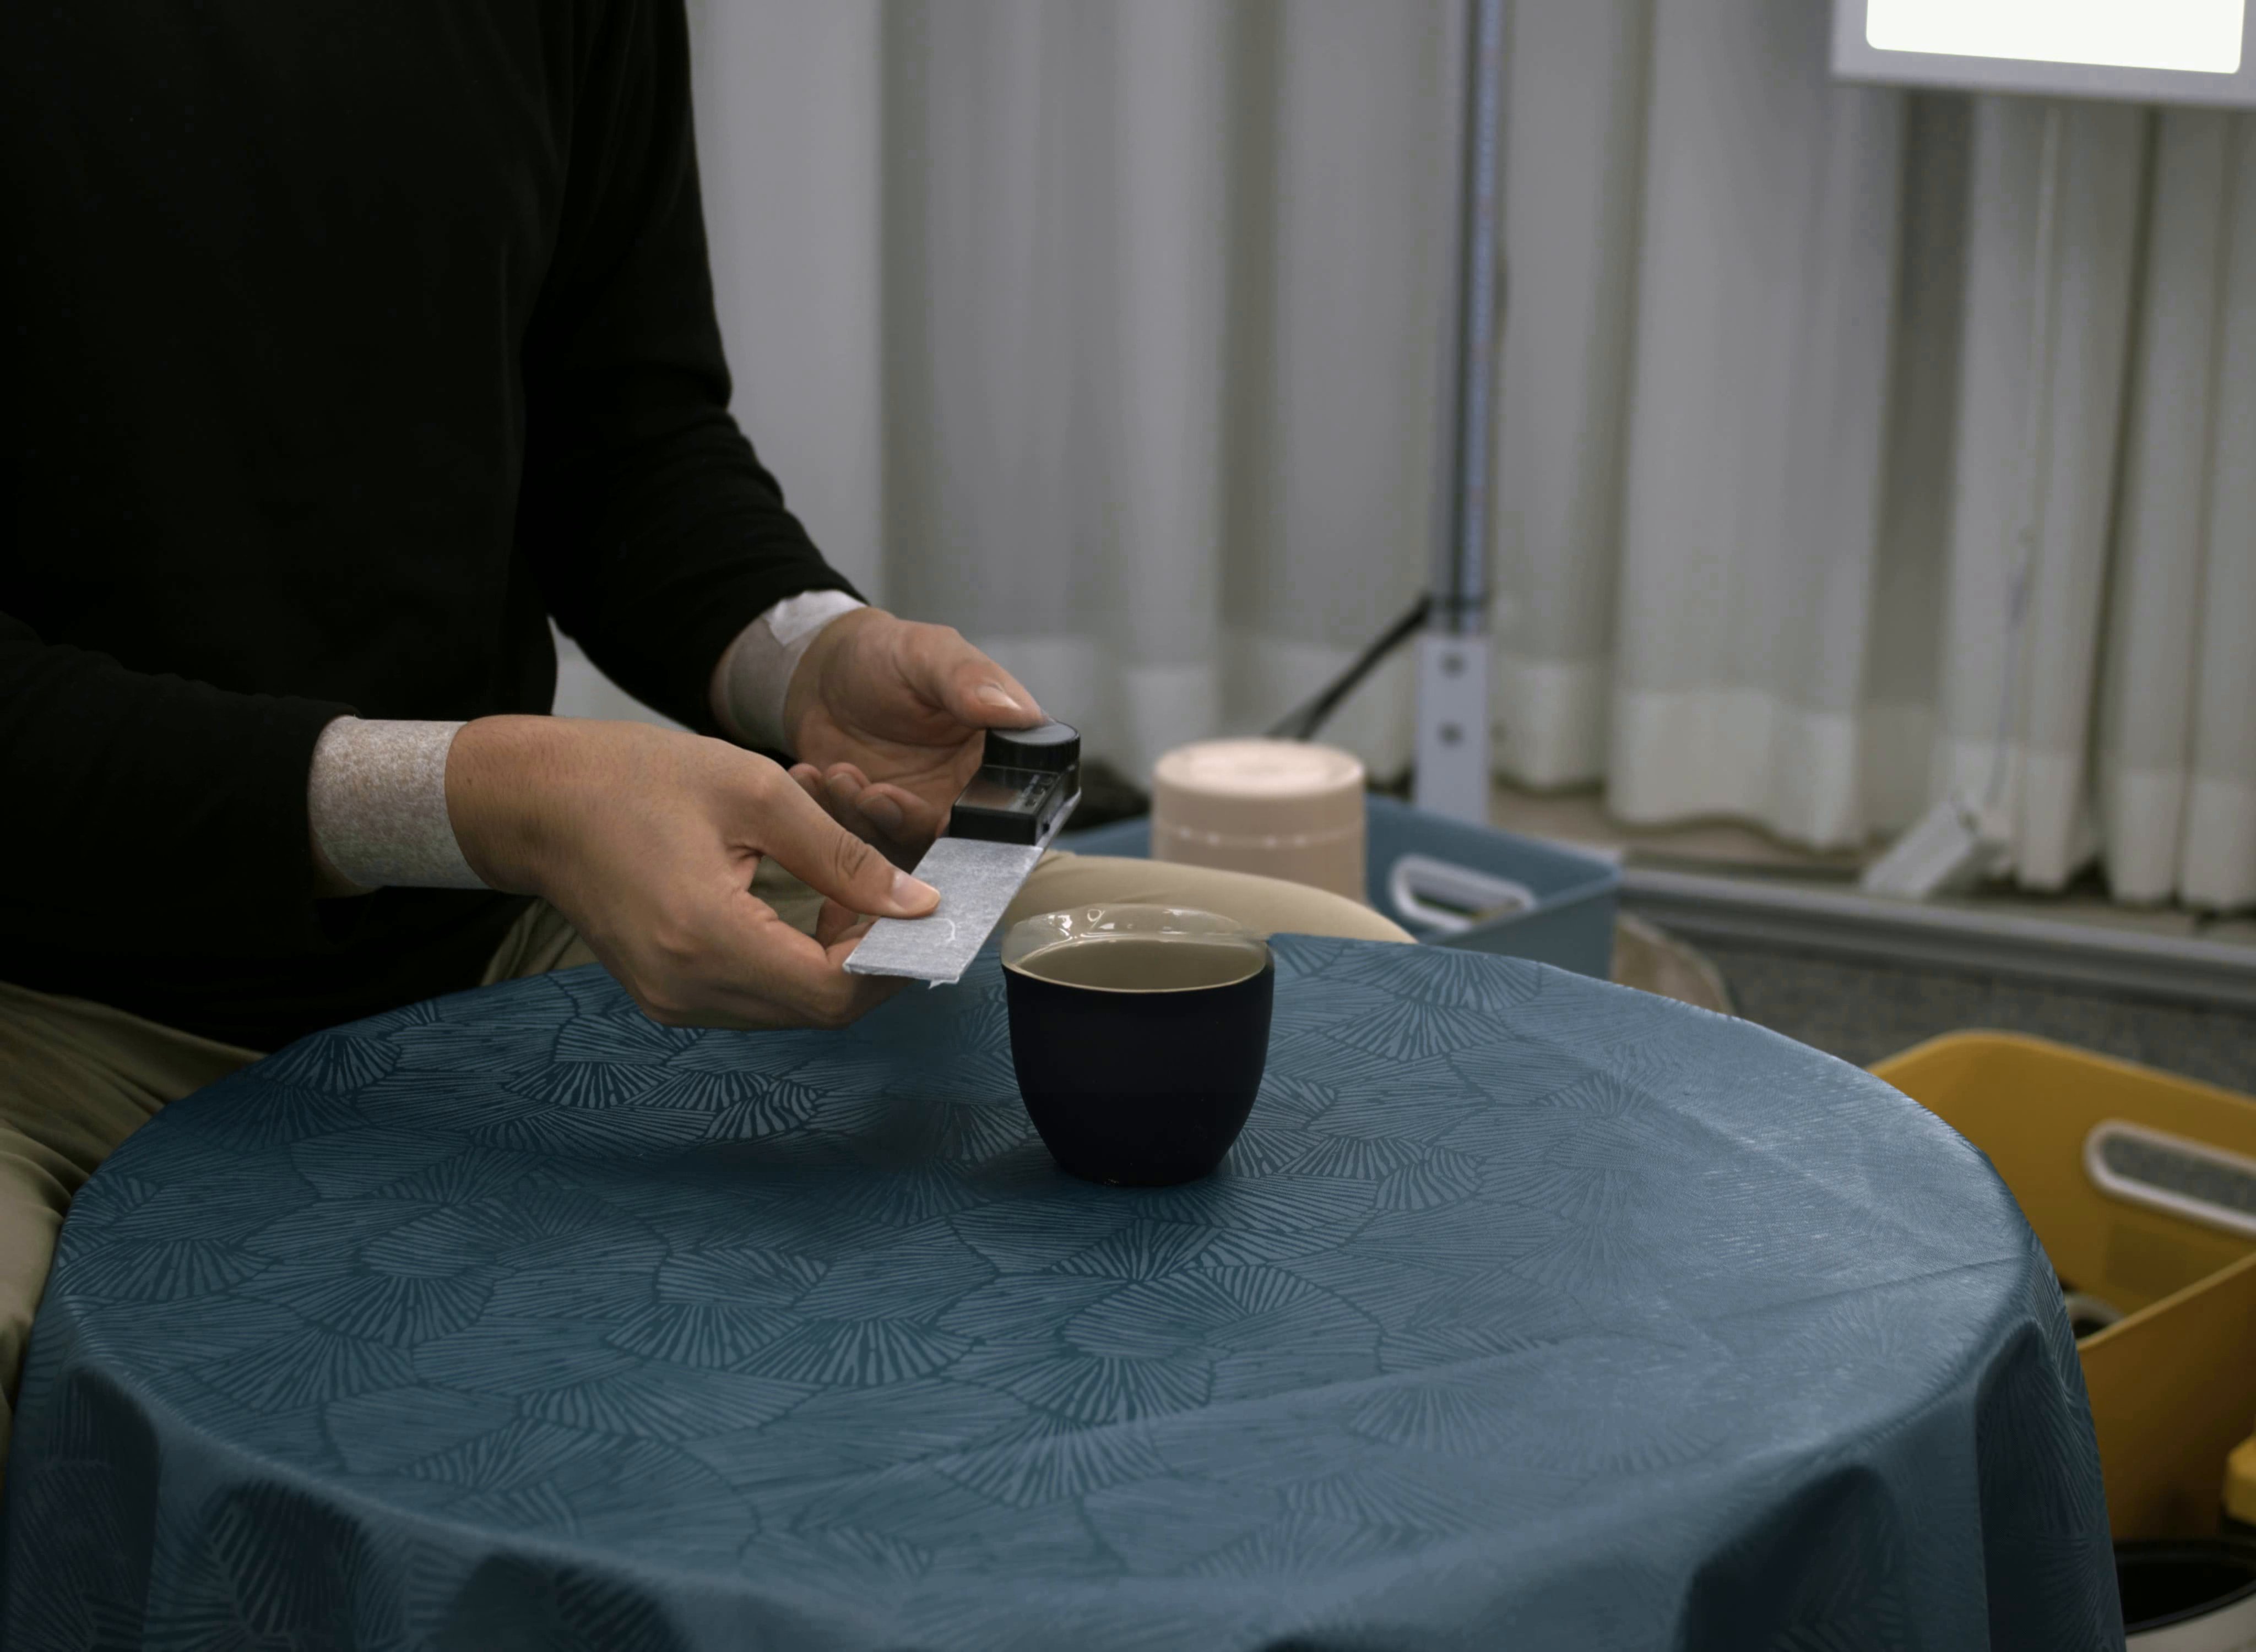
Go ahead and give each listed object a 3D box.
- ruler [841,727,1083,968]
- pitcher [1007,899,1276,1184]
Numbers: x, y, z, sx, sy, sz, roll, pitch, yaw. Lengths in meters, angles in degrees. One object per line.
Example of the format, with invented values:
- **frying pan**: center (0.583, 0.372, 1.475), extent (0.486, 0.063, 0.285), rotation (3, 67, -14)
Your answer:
- **ruler**: center (-0.050, 0.005, 1.678), extent (0.038, 0.024, 0.218), rotation (0, 15, 11)
- **pitcher**: center (0.001, 0.068, 1.641), extent (0.084, 0.072, 0.095), rotation (-9, 19, -28)
